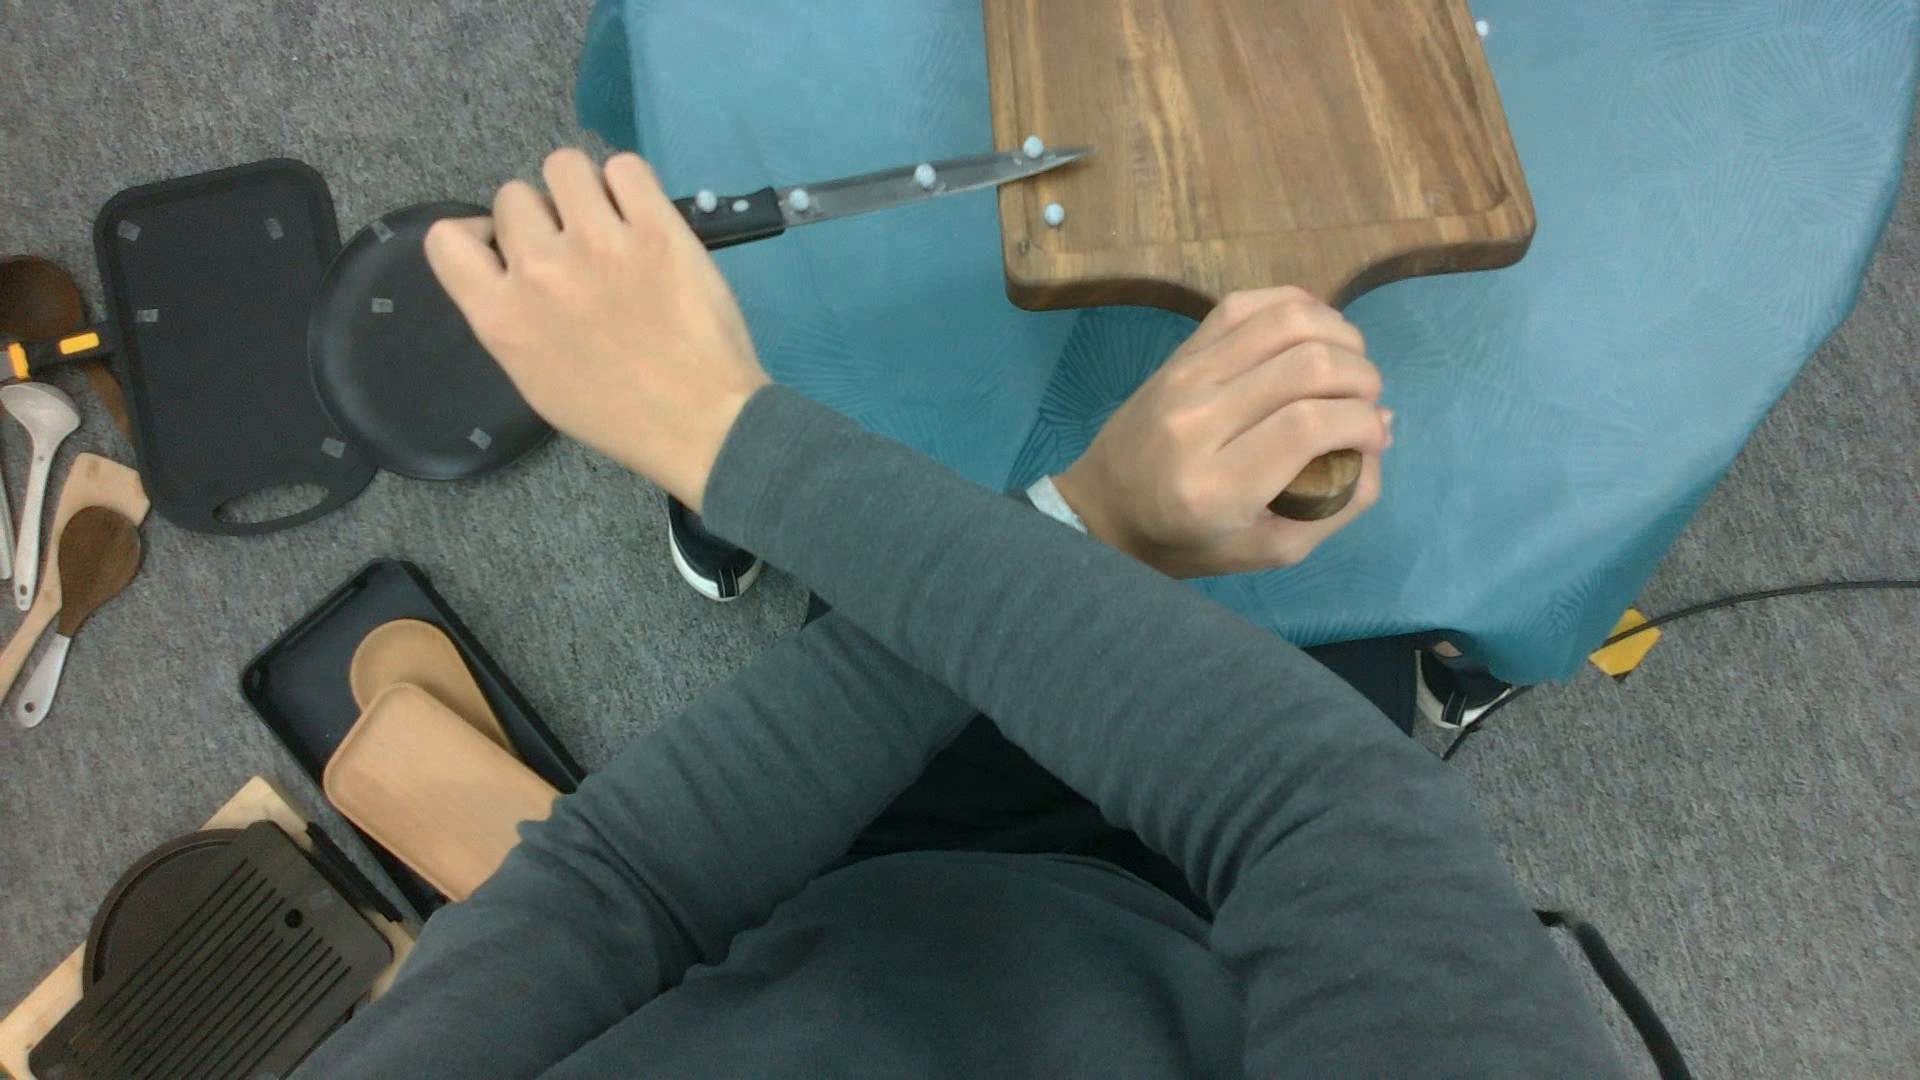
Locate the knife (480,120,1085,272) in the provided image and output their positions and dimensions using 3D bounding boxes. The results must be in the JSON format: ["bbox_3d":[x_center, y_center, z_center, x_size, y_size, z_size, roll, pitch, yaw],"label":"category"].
[{"bbox_3d":[-0.065,-0.135,0.532,0.238,0.016,0.024,-13,60,-5],"label":"knife"}]

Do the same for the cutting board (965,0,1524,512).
[{"bbox_3d":[0.106,-0.167,0.551,0.201,0.023,0.353,-5,61,2],"label":"cutting board"}]
